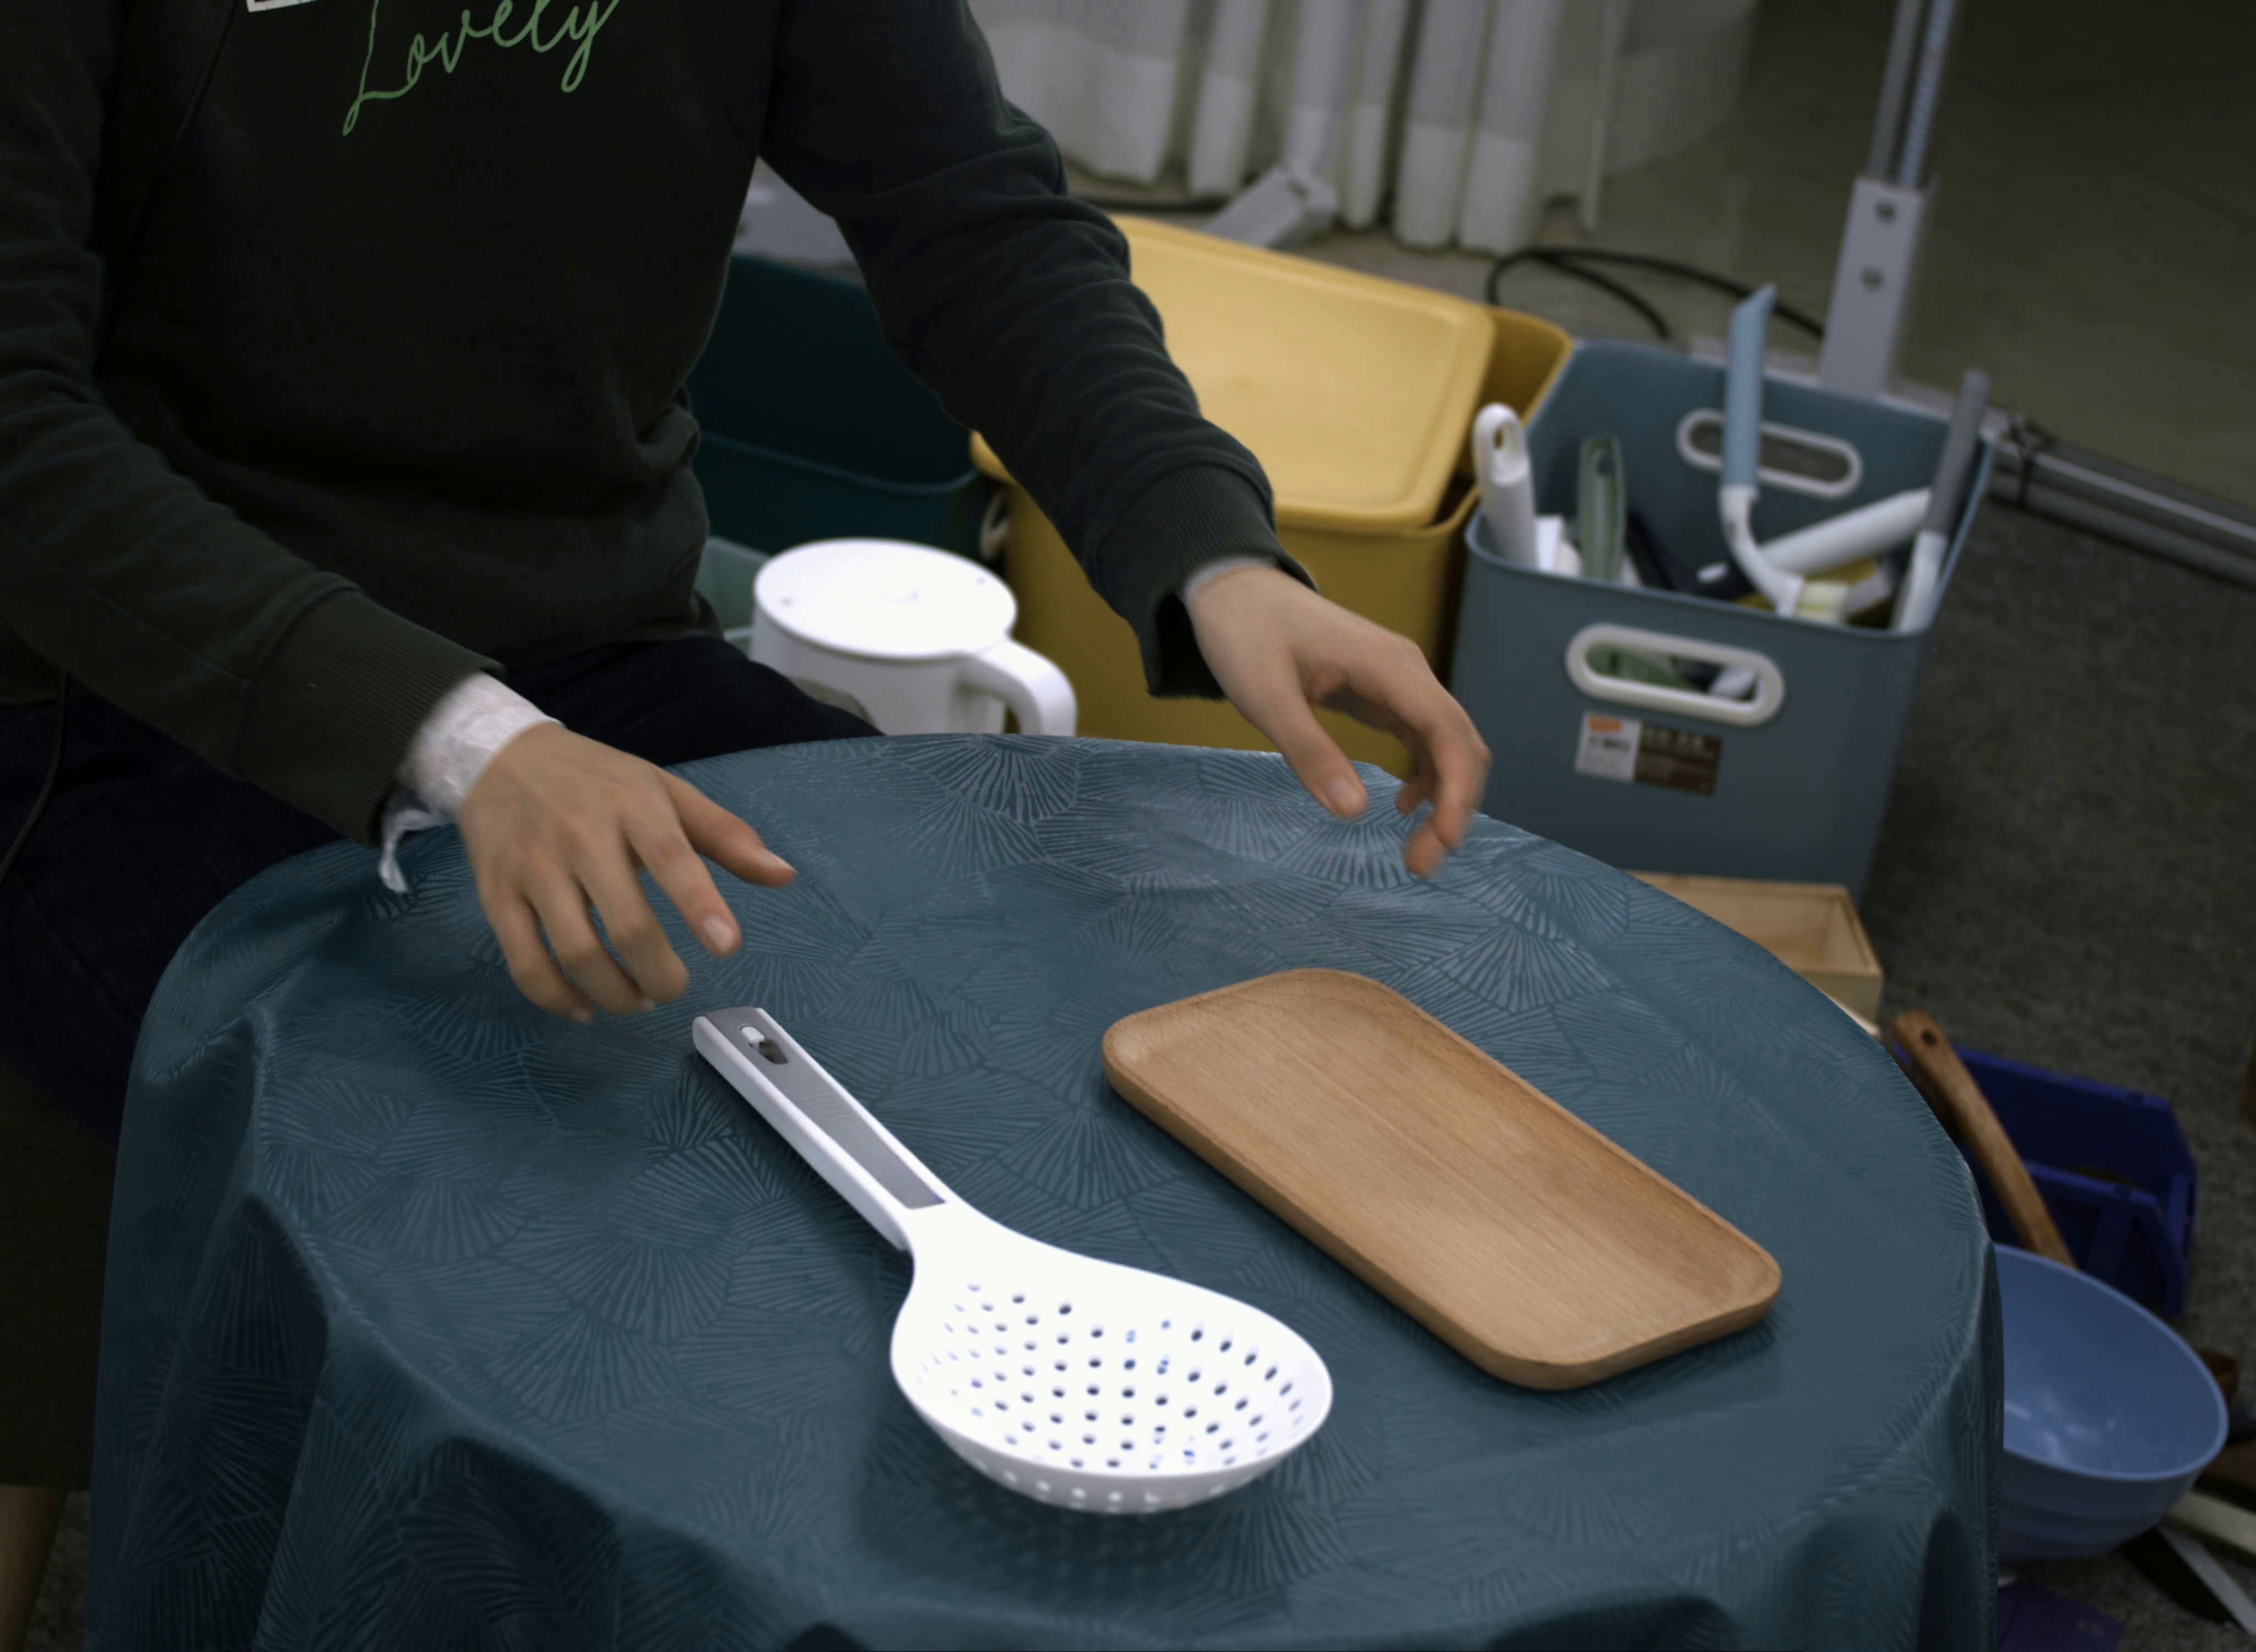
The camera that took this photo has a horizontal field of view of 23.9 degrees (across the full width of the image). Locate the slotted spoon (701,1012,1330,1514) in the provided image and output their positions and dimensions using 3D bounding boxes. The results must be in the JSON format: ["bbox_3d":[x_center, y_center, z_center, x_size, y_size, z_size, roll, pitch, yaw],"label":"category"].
[{"bbox_3d":[-0.057,0.134,1.716,0.135,0.045,0.353,-5,28,-28],"label":"slotted spoon"}]

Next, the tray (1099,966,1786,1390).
[{"bbox_3d":[0.104,0.117,1.817,0.130,0.023,0.253,-12,31,-36],"label":"tray"}]
